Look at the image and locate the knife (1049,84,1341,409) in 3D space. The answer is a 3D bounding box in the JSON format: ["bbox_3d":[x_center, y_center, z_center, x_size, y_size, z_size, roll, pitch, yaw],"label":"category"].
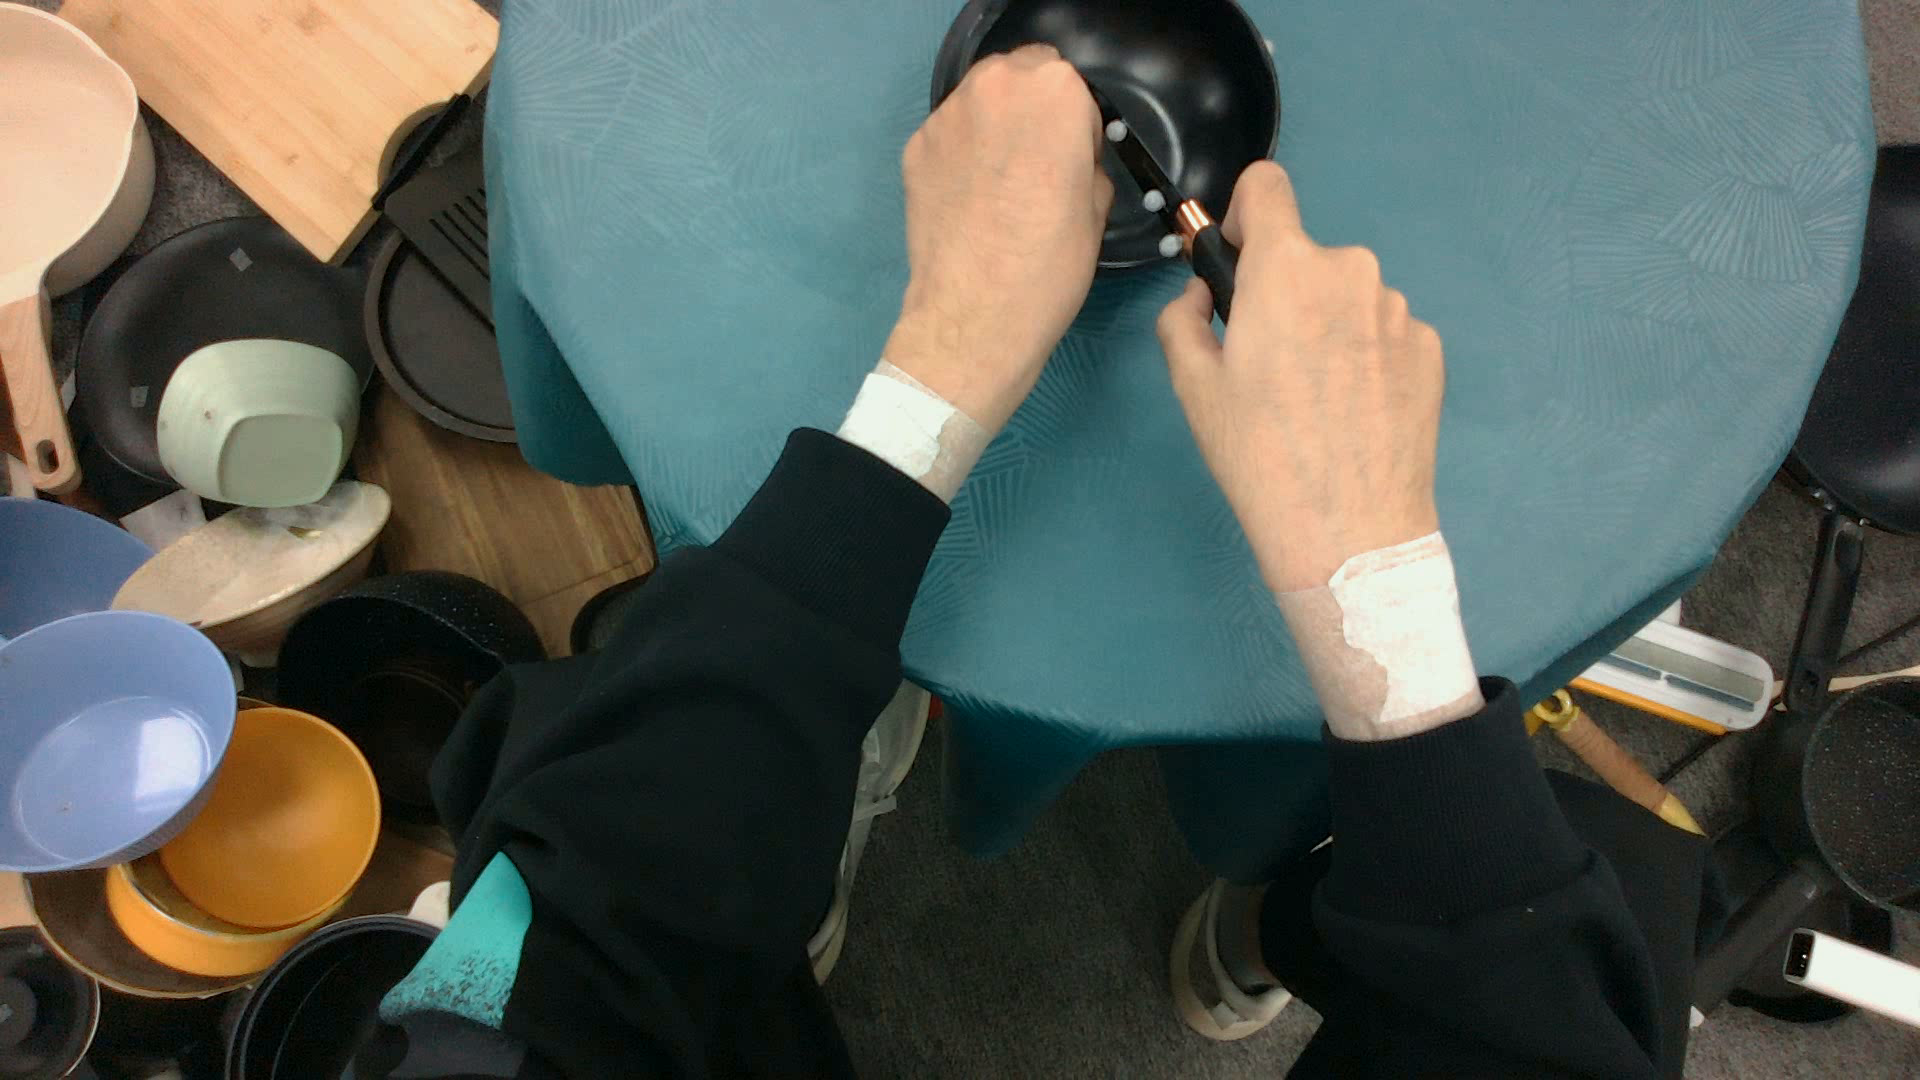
[{"bbox_3d":[0.080,-0.124,0.525,0.017,0.026,0.226,-19,50,-11],"label":"knife"}]

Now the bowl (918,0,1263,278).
[{"bbox_3d":[0.051,-0.170,0.571,0.140,0.049,0.140,0,83,-3],"label":"bowl"}]
